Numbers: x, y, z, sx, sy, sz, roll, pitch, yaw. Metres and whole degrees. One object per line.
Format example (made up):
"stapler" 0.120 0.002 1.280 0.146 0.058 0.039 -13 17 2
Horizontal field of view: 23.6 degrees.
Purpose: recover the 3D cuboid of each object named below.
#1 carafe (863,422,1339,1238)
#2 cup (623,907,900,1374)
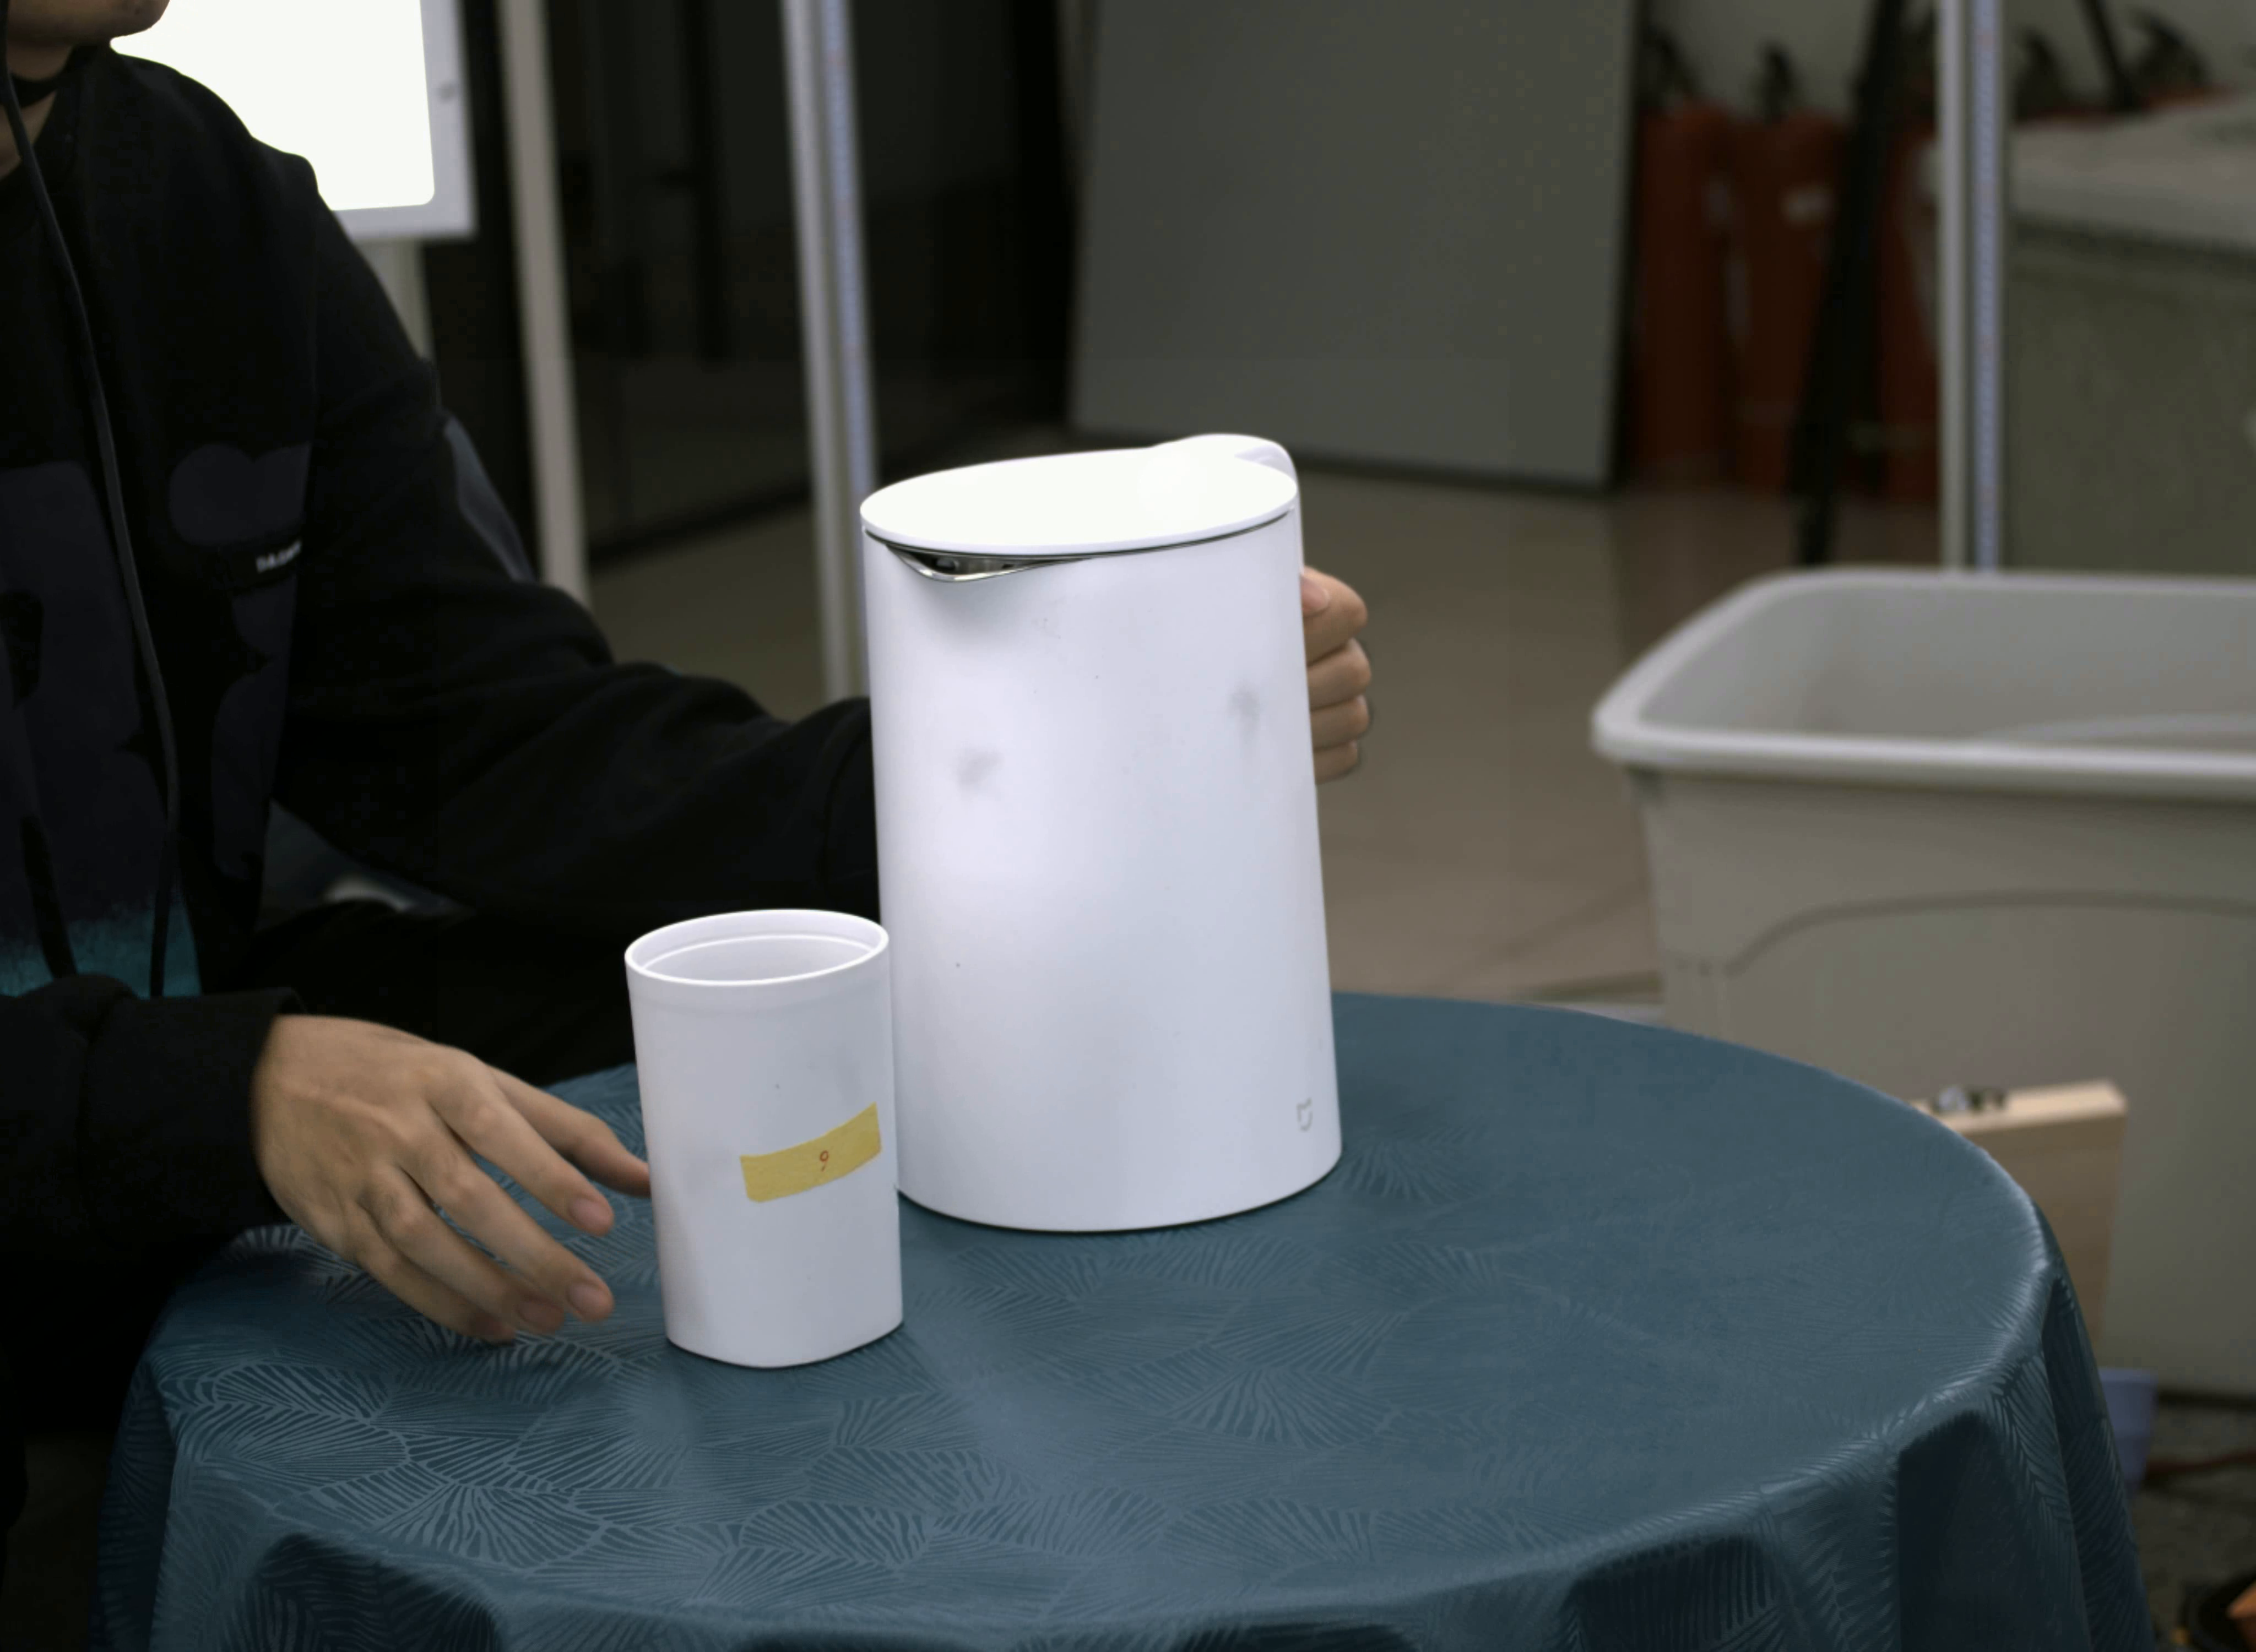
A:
"carafe" 0.004 -0.005 1.794 0.153 0.243 0.210 6 17 30
"cup" -0.109 0.096 1.645 0.080 0.127 0.082 -4 13 0
